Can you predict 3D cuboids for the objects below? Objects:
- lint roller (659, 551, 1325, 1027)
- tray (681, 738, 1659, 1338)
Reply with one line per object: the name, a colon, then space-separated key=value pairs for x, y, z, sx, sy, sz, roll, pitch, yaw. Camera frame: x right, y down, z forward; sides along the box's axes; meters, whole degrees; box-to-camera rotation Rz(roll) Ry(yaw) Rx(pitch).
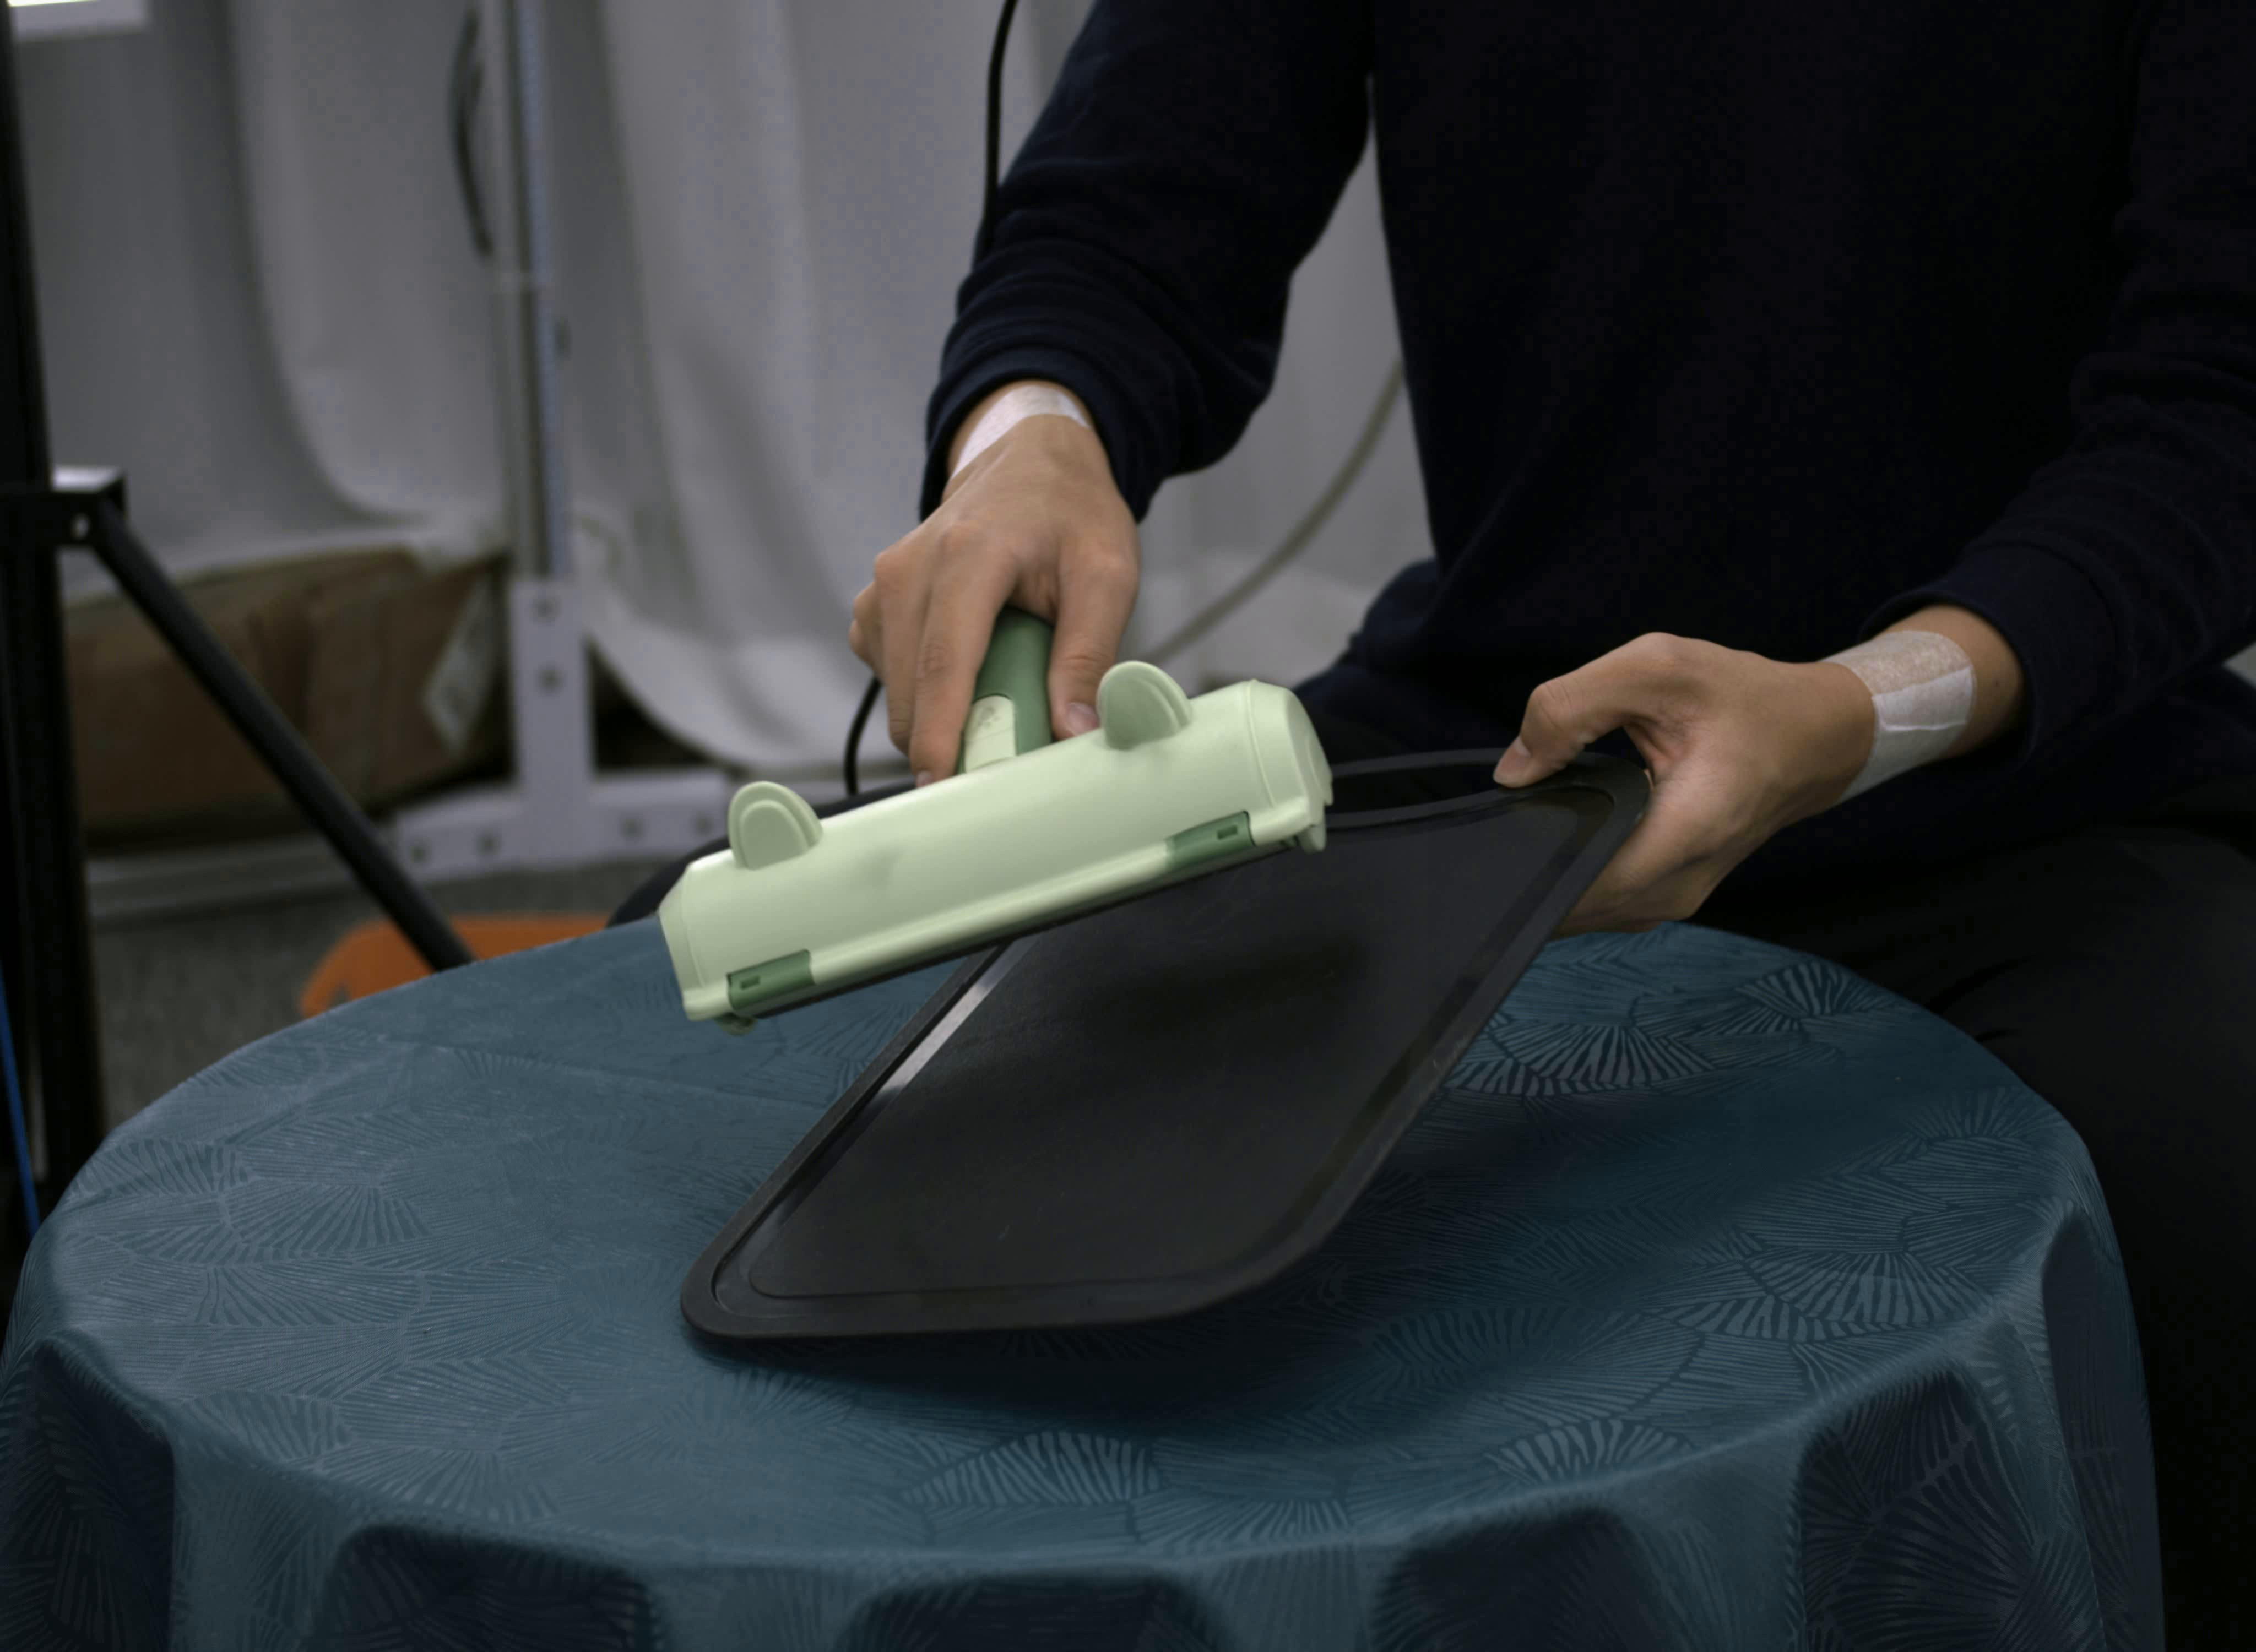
lint roller: x=-0.047 y=-0.037 z=1.584 sx=0.199 sy=0.081 sz=0.186 roll=-18 pitch=44 yaw=12
tray: x=0.019 y=0.054 z=1.522 sx=0.215 sy=0.010 sz=0.322 roll=-4 pitch=28 yaw=34
